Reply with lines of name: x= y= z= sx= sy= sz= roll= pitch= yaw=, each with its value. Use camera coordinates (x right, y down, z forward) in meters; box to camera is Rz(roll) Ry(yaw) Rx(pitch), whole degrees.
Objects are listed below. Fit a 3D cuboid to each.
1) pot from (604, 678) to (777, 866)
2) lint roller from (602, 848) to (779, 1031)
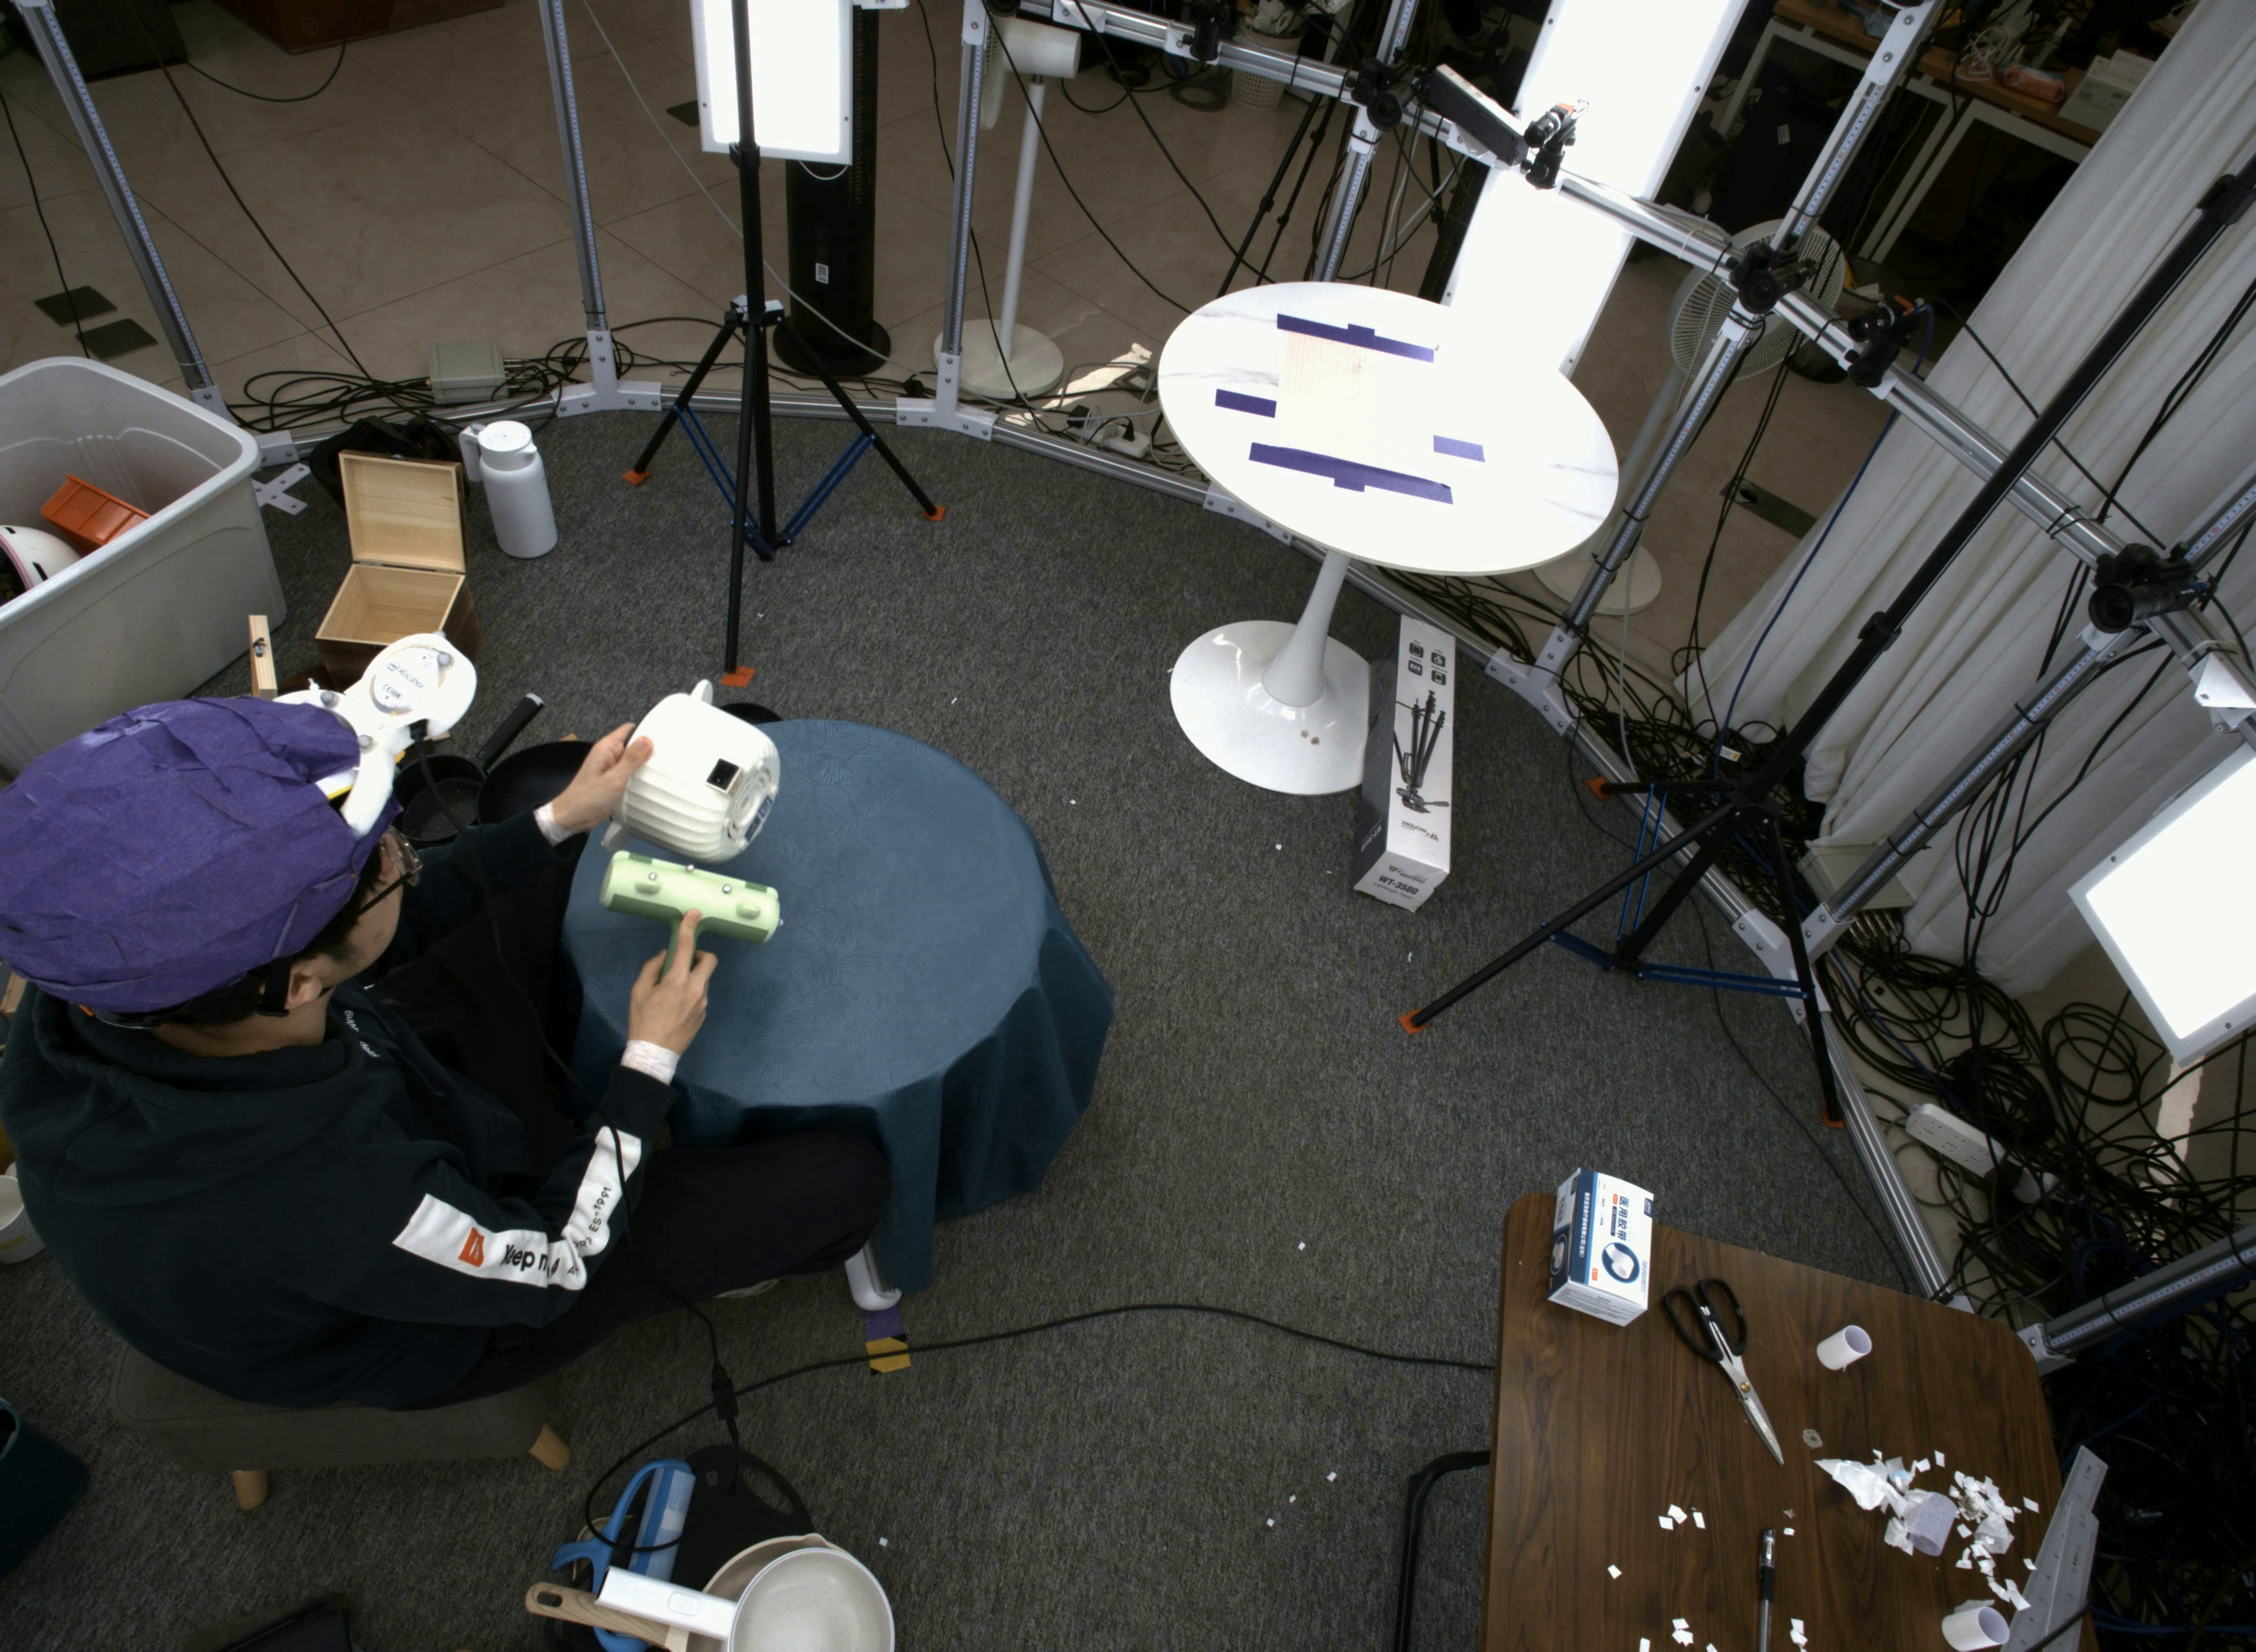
pot: x=-0.506 y=-0.047 z=1.526 sx=0.141 sy=0.193 sz=0.240 roll=25 pitch=71 yaw=3
lint roller: x=-0.494 y=0.129 z=1.439 sx=0.203 sy=0.081 sz=0.181 roll=19 pitch=58 yaw=-32
